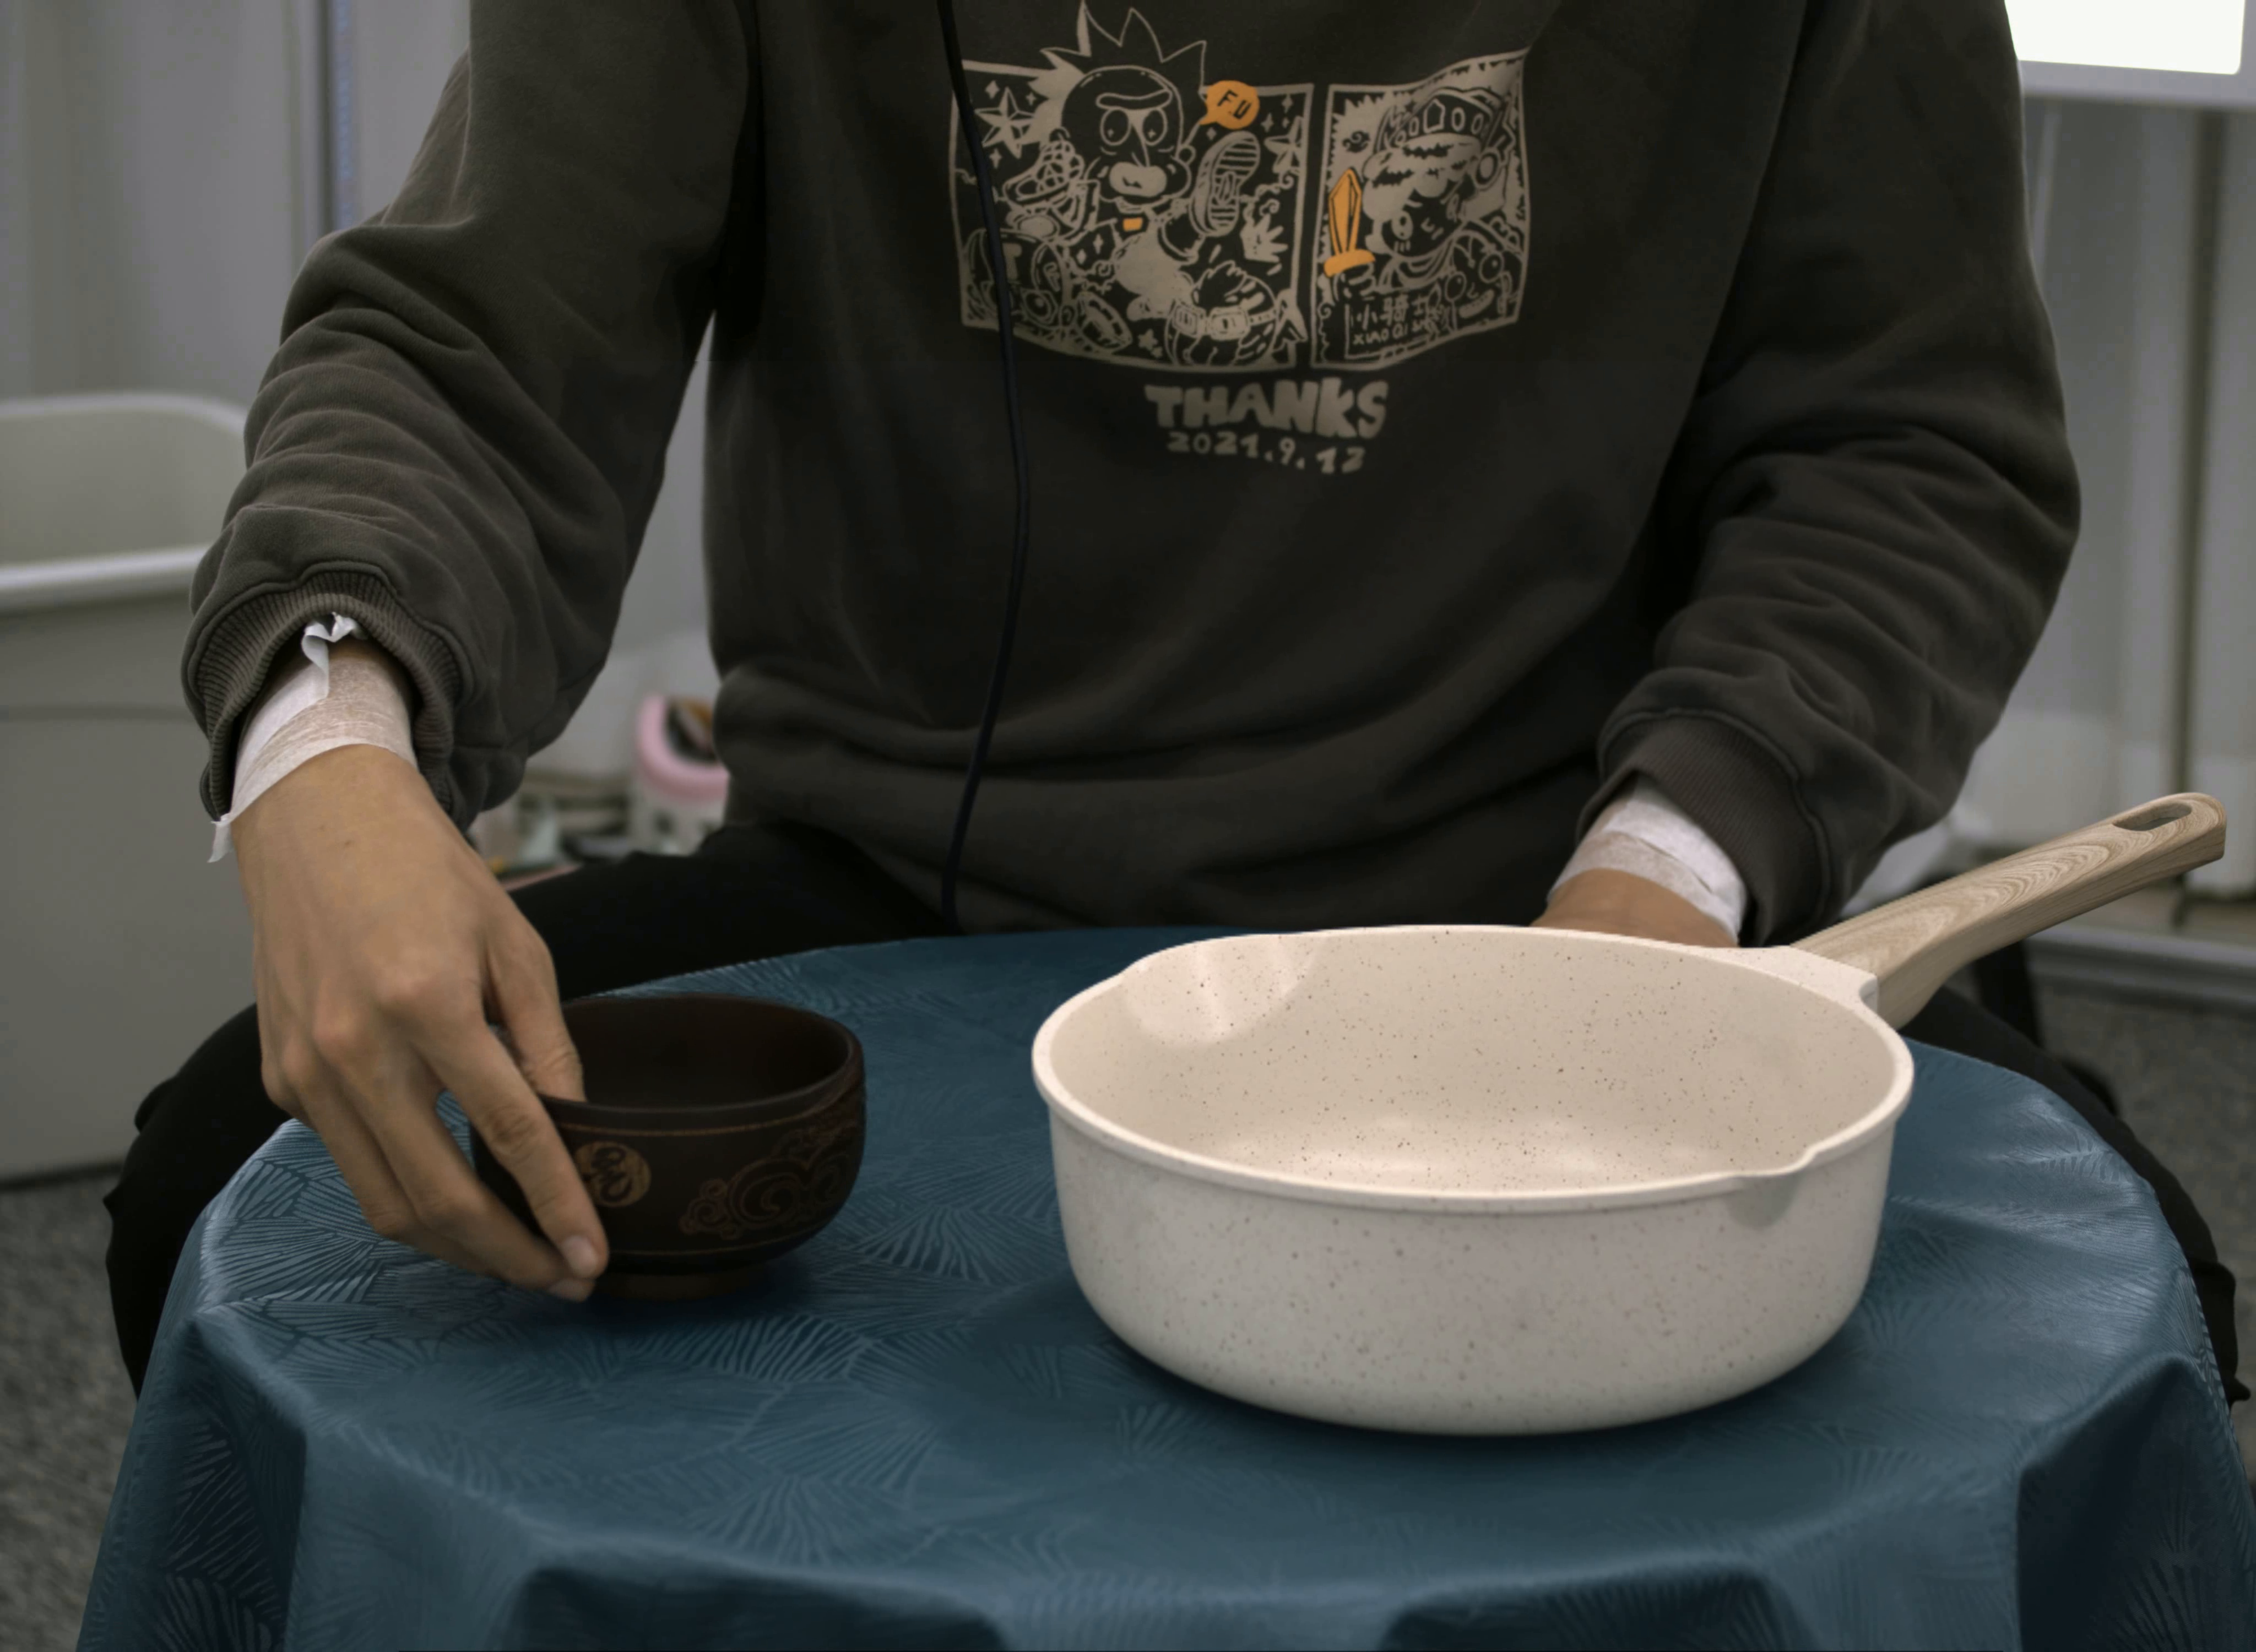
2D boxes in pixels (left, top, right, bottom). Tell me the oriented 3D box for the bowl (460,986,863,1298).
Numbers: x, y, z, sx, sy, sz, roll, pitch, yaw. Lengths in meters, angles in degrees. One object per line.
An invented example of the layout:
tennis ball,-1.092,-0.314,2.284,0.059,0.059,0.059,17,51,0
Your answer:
bowl,-0.136,0.097,1.548,0.117,0.070,0.117,-1,17,1

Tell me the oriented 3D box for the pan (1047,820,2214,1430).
pan,0.174,0.081,1.565,0.437,0.103,0.260,-11,18,-37
